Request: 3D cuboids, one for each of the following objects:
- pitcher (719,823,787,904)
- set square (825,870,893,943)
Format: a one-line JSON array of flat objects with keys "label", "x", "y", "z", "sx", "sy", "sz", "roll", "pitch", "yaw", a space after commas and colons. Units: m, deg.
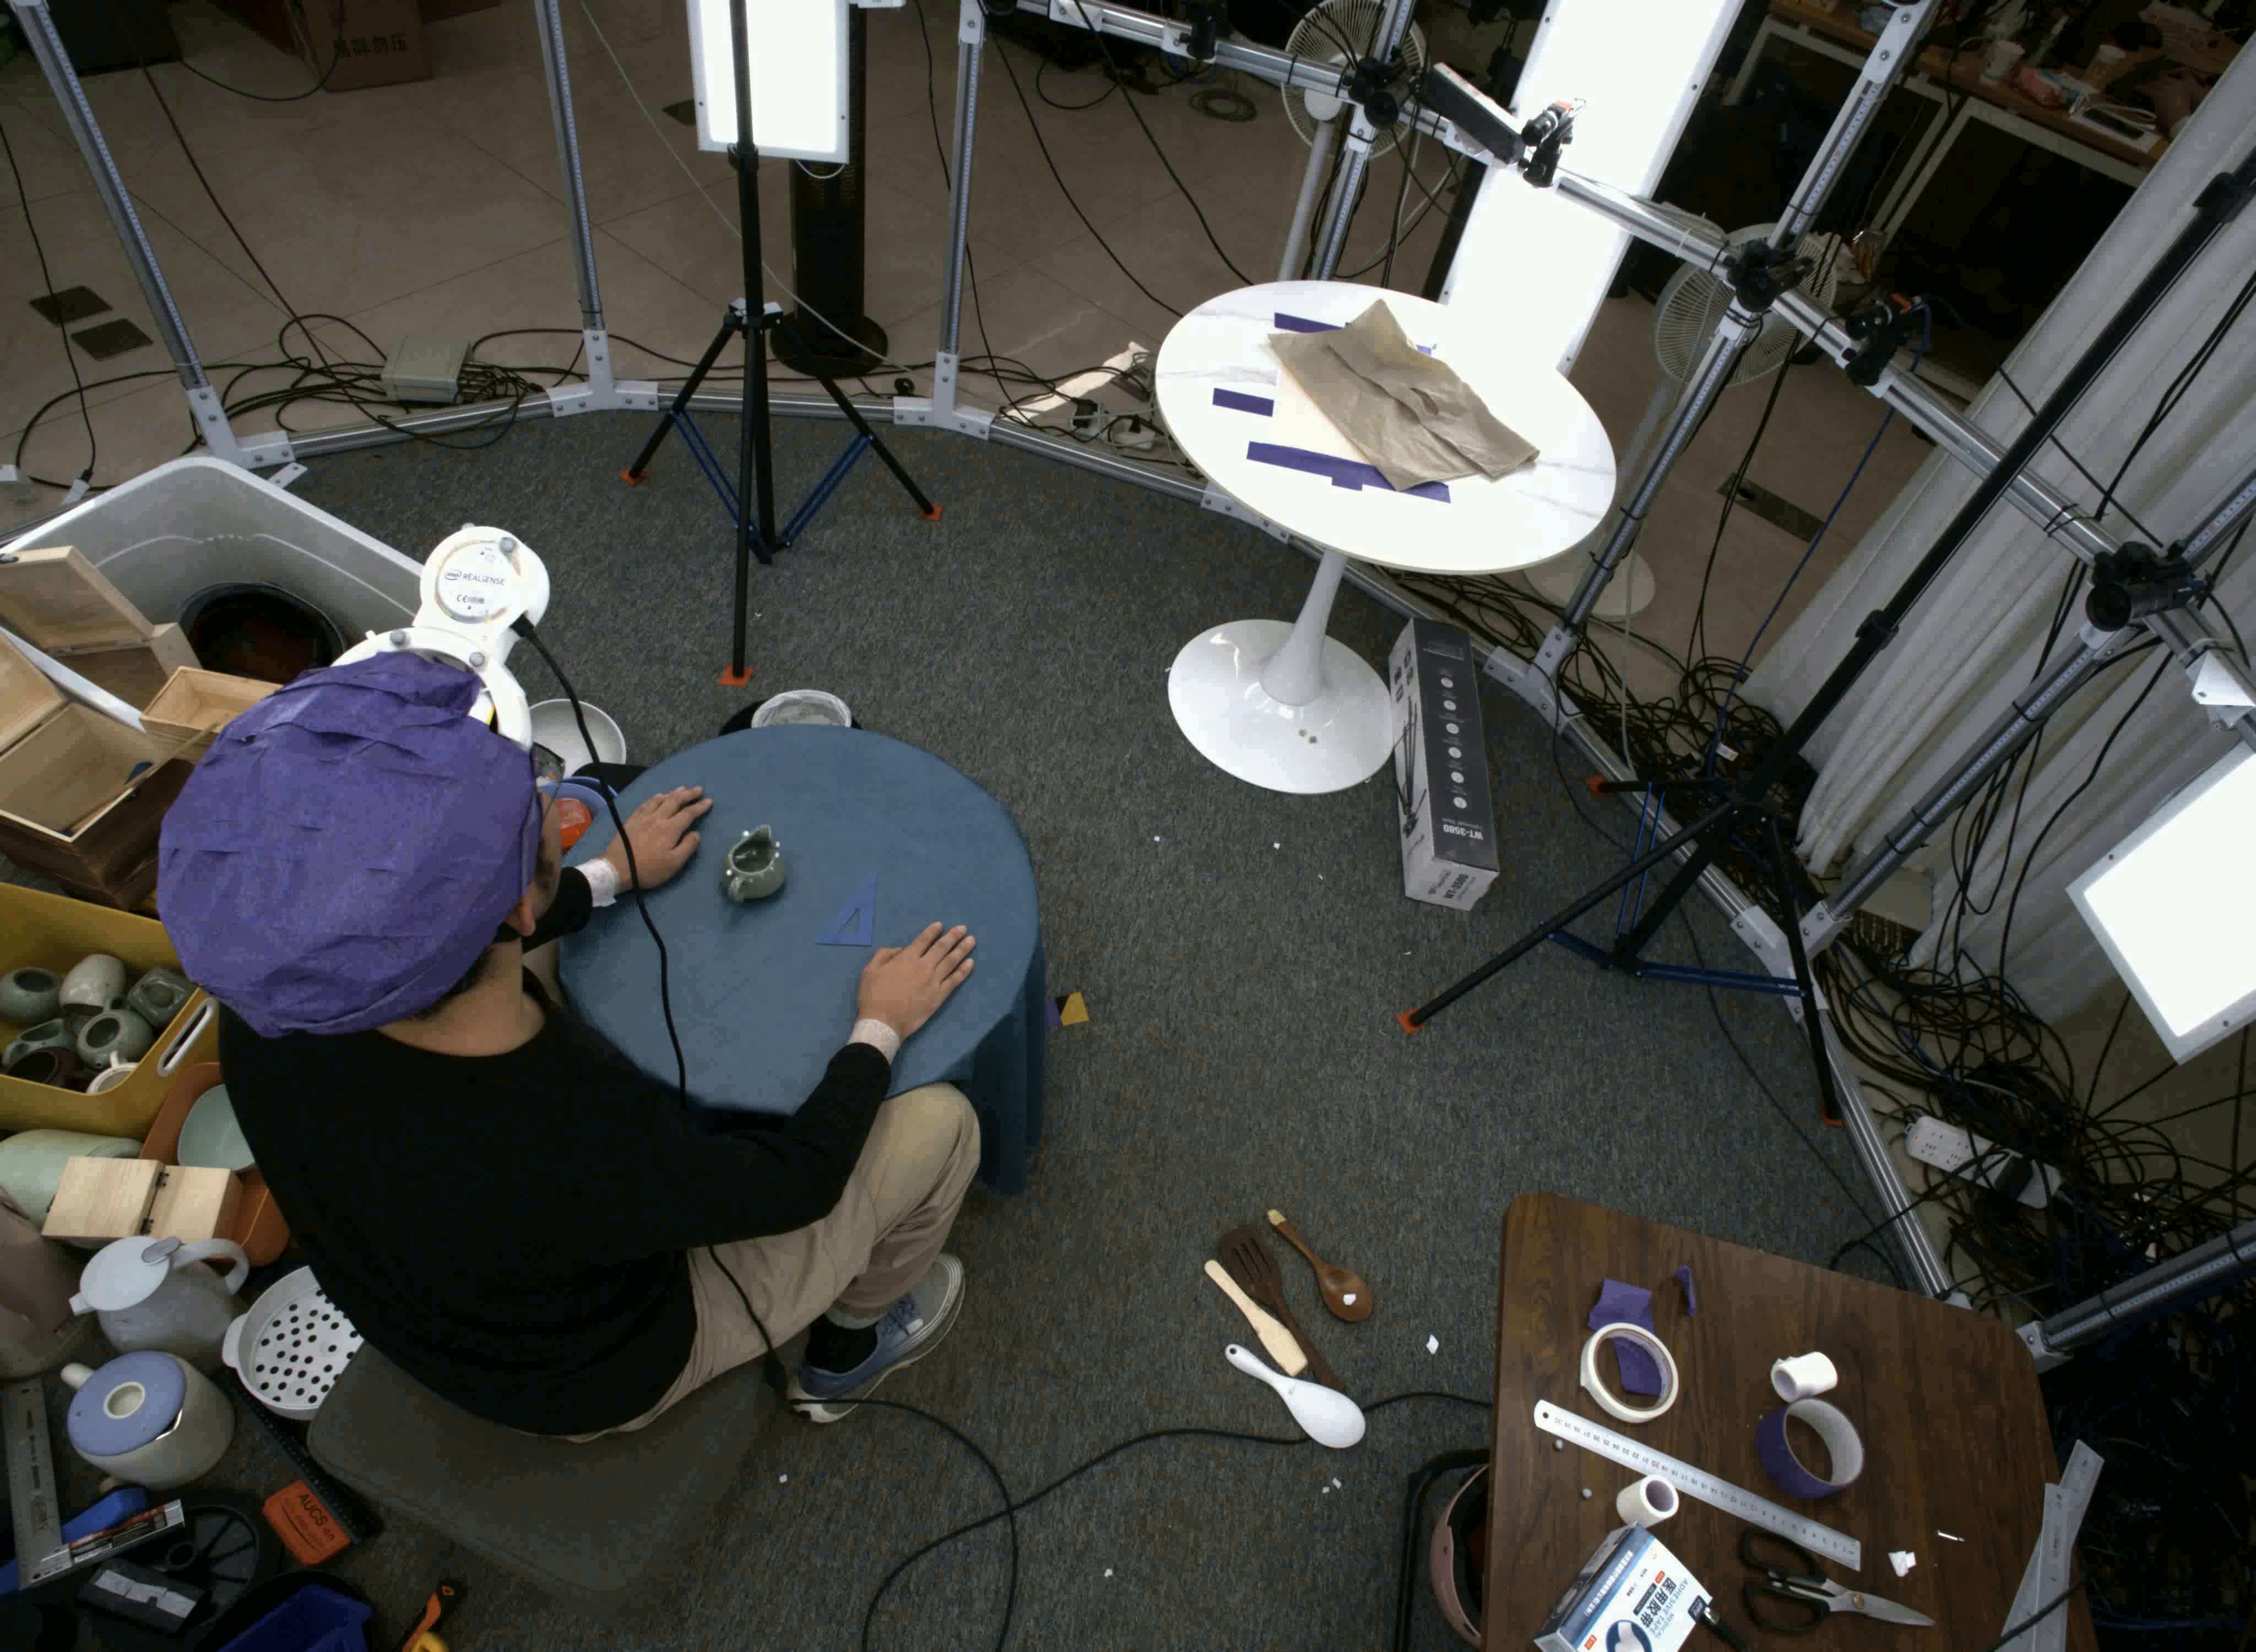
[{"label": "pitcher", "x": -0.476, "y": 0.054, "z": 1.629, "sx": 0.083, "sy": 0.057, "sz": 0.111, "roll": 14, "pitch": 51, "yaw": 0}, {"label": "set square", "x": -0.325, "y": 0.108, "z": 1.662, "sx": 0.060, "sy": 0.007, "sz": 0.131, "roll": 30, "pitch": 52, "yaw": 10}]
